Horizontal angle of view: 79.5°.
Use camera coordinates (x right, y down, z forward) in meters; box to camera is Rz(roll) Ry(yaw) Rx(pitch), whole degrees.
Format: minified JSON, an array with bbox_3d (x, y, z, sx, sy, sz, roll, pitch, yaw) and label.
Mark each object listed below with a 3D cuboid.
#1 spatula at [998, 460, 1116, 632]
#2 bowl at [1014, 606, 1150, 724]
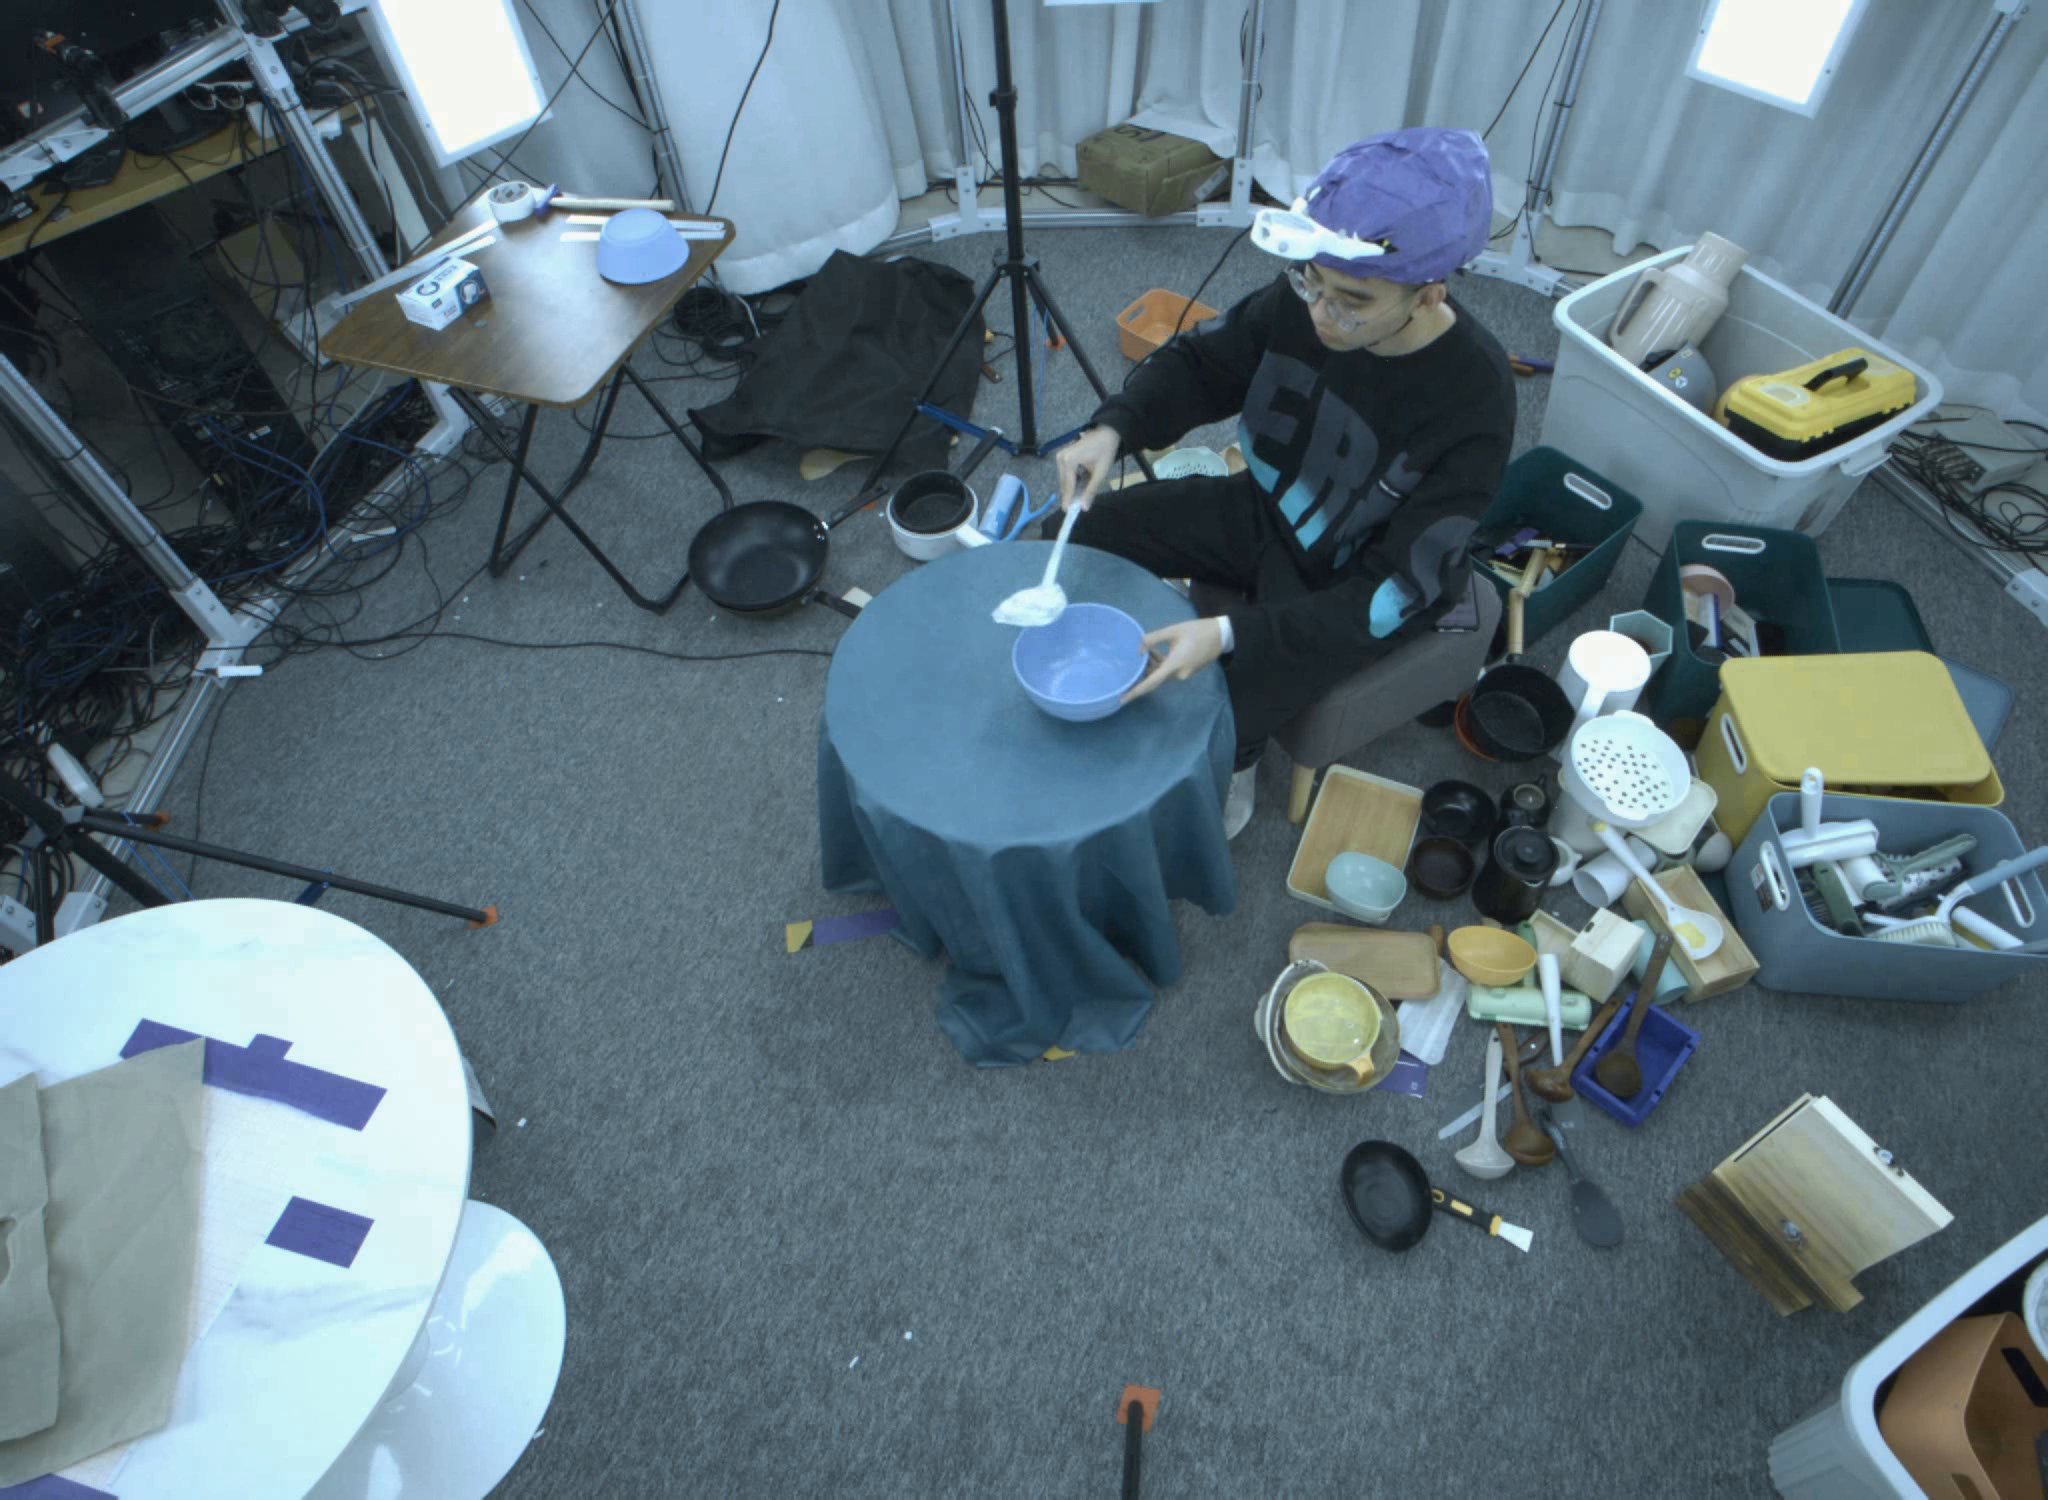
[{"bbox_3d":[0.064,-0.306,1.787,0.097,0.045,0.364,8,62,25],"label":"spatula"},{"bbox_3d":[0.089,-0.110,1.808,0.196,0.097,0.194,-3,53,5],"label":"bowl"}]
